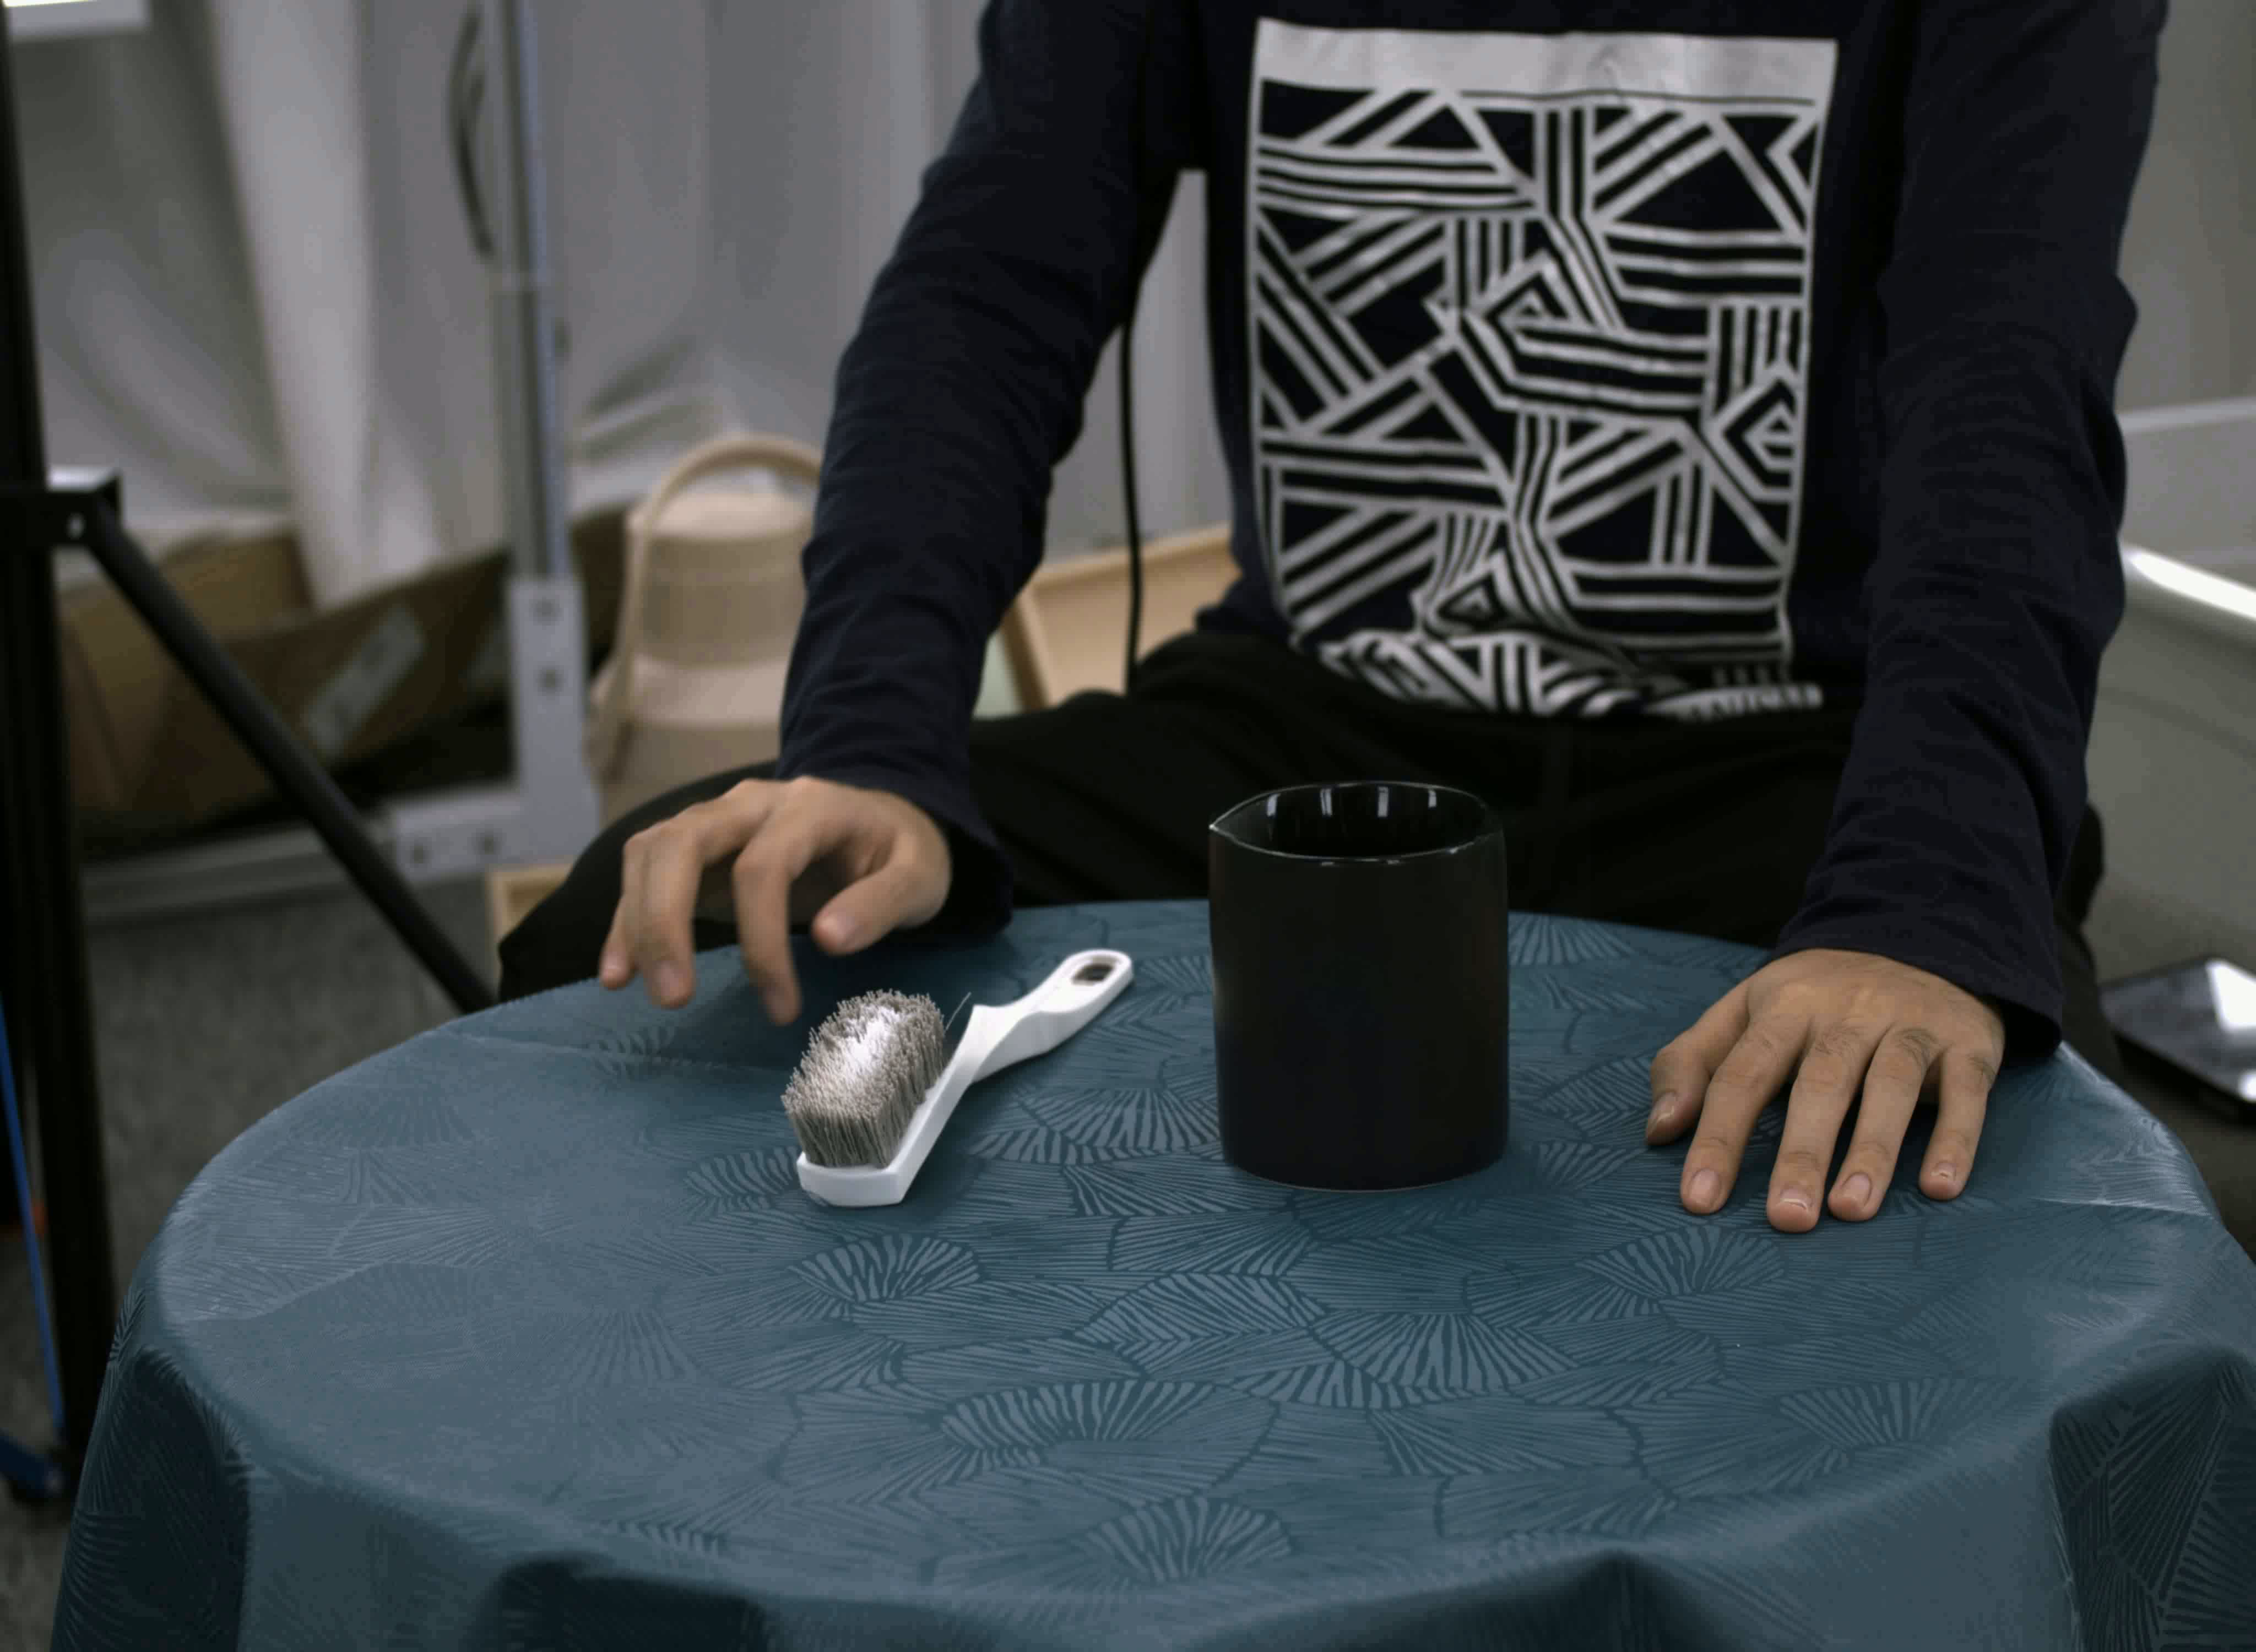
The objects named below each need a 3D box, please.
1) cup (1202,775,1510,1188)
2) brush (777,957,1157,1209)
[{"bbox_3d":[0.076,0.042,1.594,0.090,0.105,0.122,3,14,25],"label":"cup"},{"bbox_3d":[-0.045,0.060,1.652,0.035,0.050,0.240,0,15,23],"label":"brush"}]
